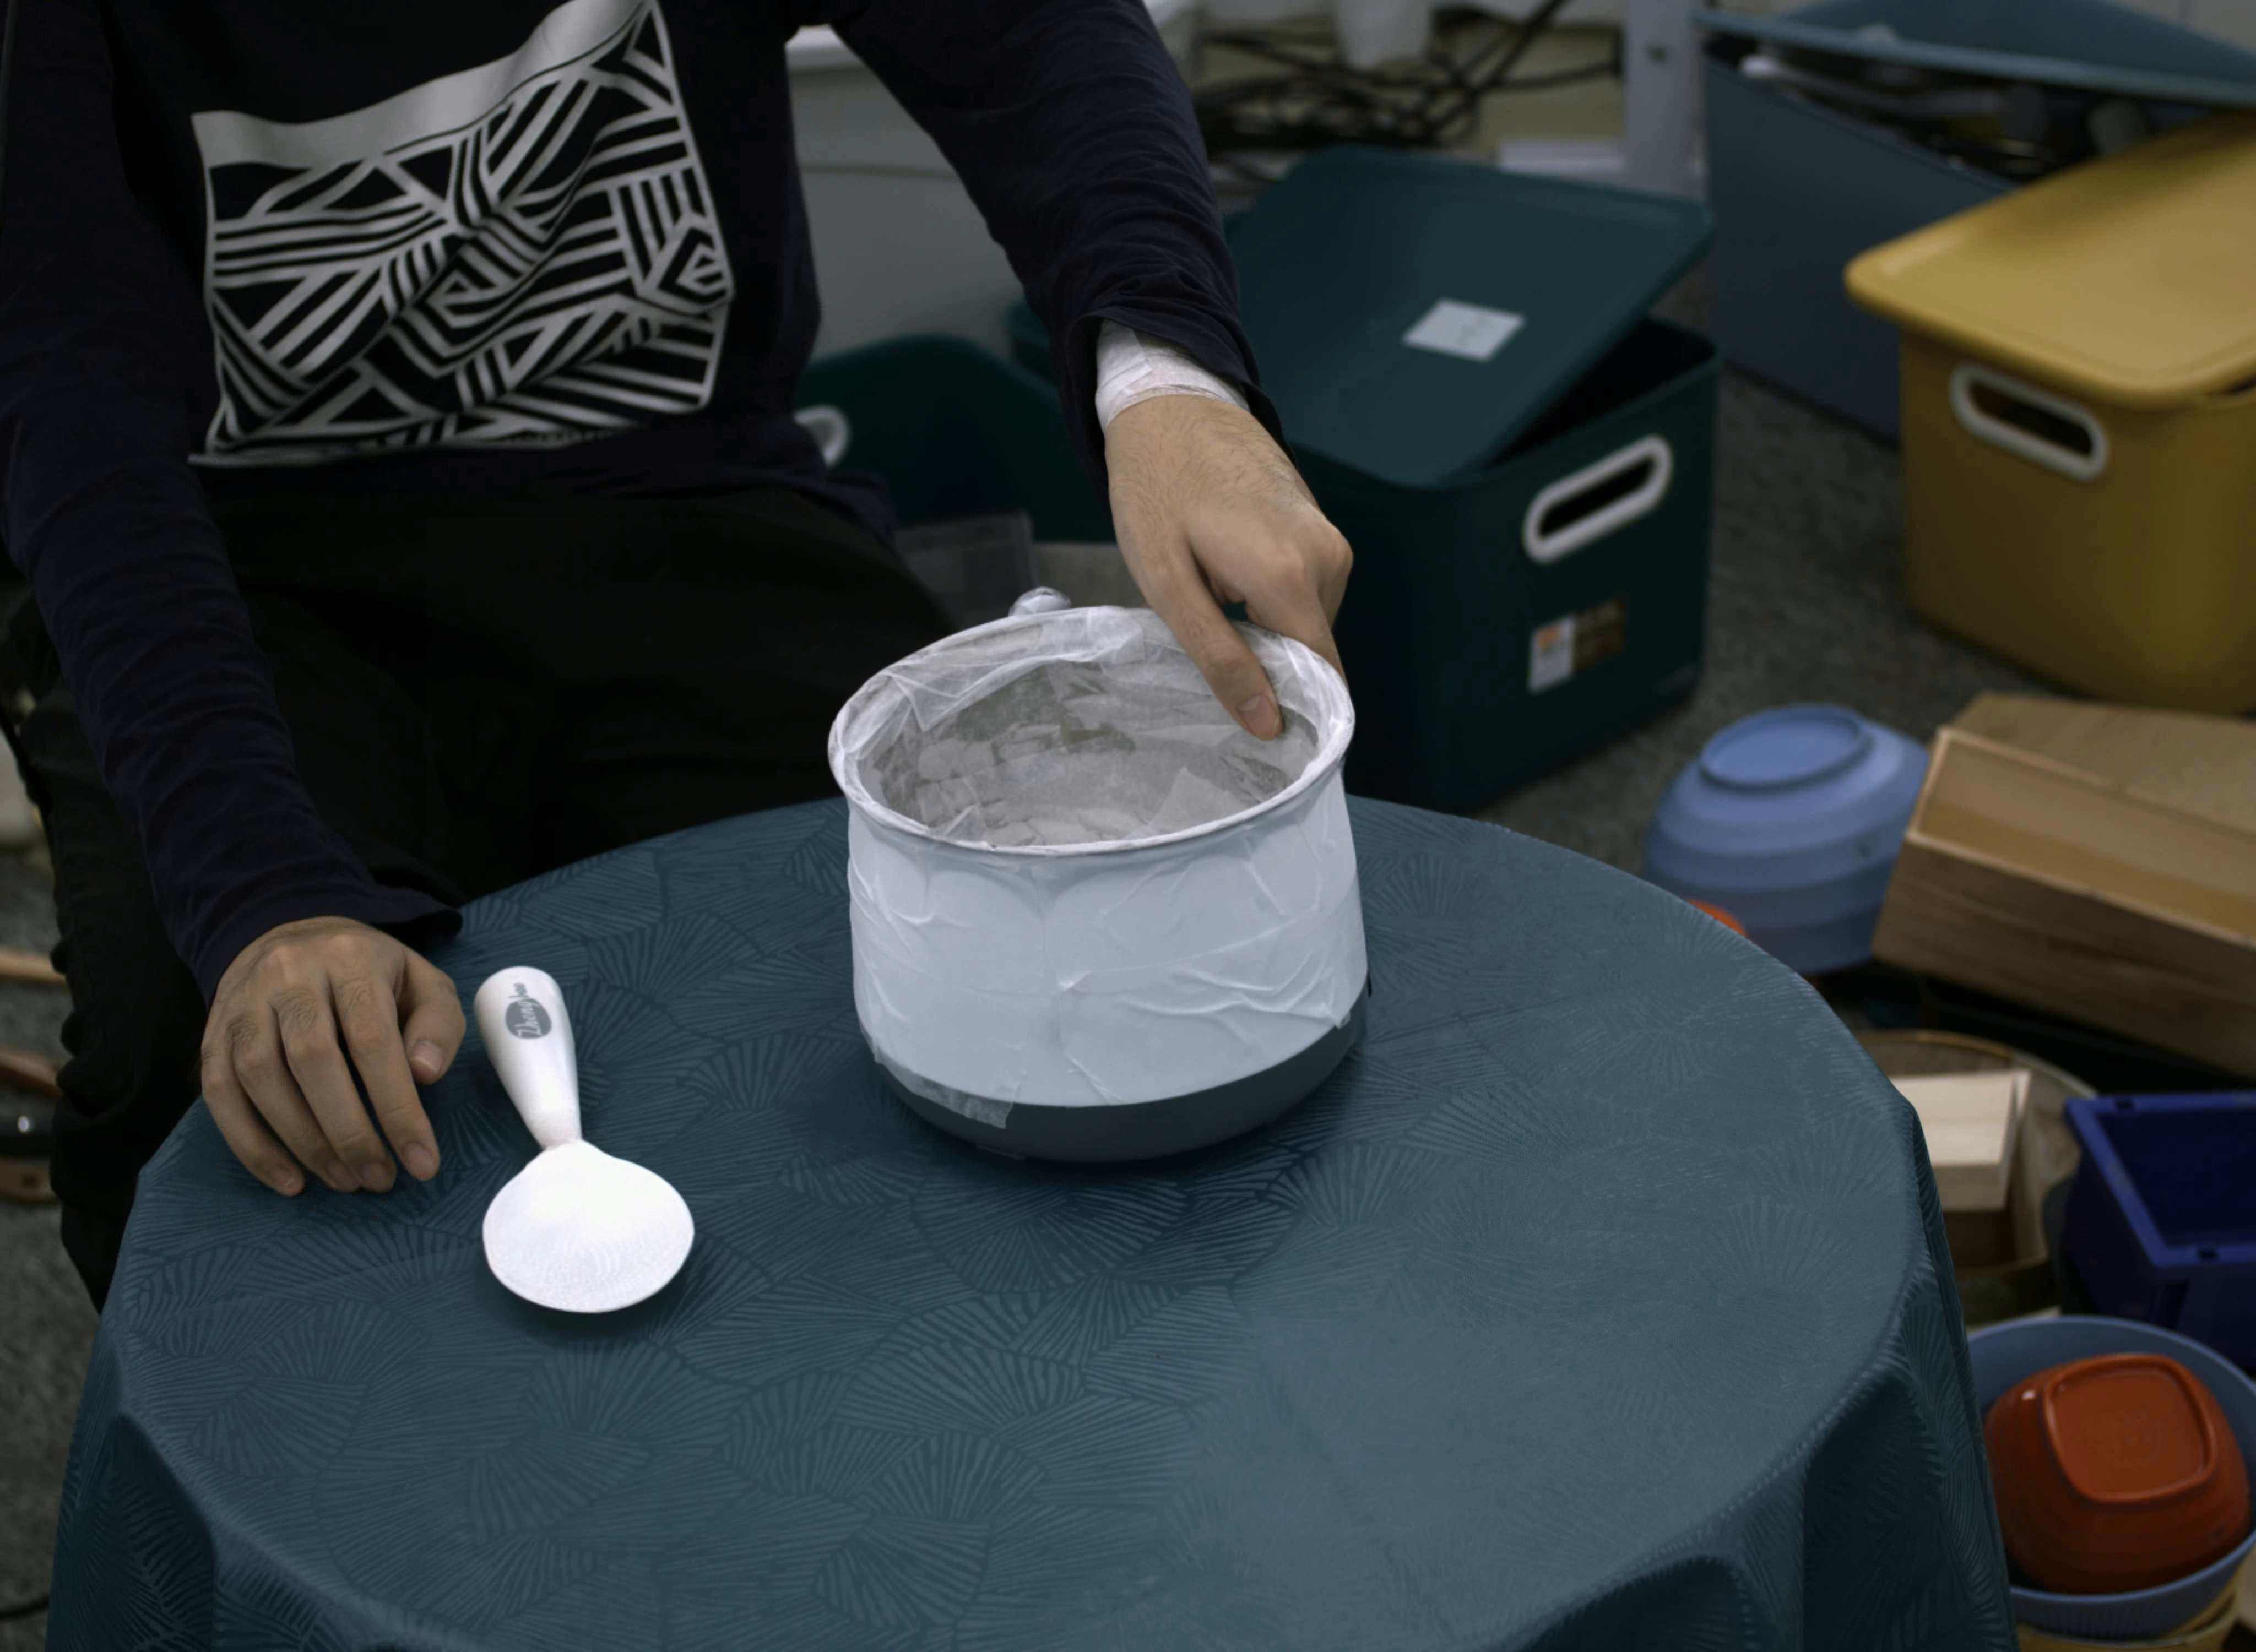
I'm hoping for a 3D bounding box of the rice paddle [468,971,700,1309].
[{"bbox_3d":[-0.189,0.107,1.877,0.069,0.029,0.207,-11,27,-11],"label":"rice paddle"}]

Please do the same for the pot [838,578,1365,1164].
[{"bbox_3d":[-0.014,0.008,1.929,0.178,0.135,0.236,-6,28,-10],"label":"pot"}]
